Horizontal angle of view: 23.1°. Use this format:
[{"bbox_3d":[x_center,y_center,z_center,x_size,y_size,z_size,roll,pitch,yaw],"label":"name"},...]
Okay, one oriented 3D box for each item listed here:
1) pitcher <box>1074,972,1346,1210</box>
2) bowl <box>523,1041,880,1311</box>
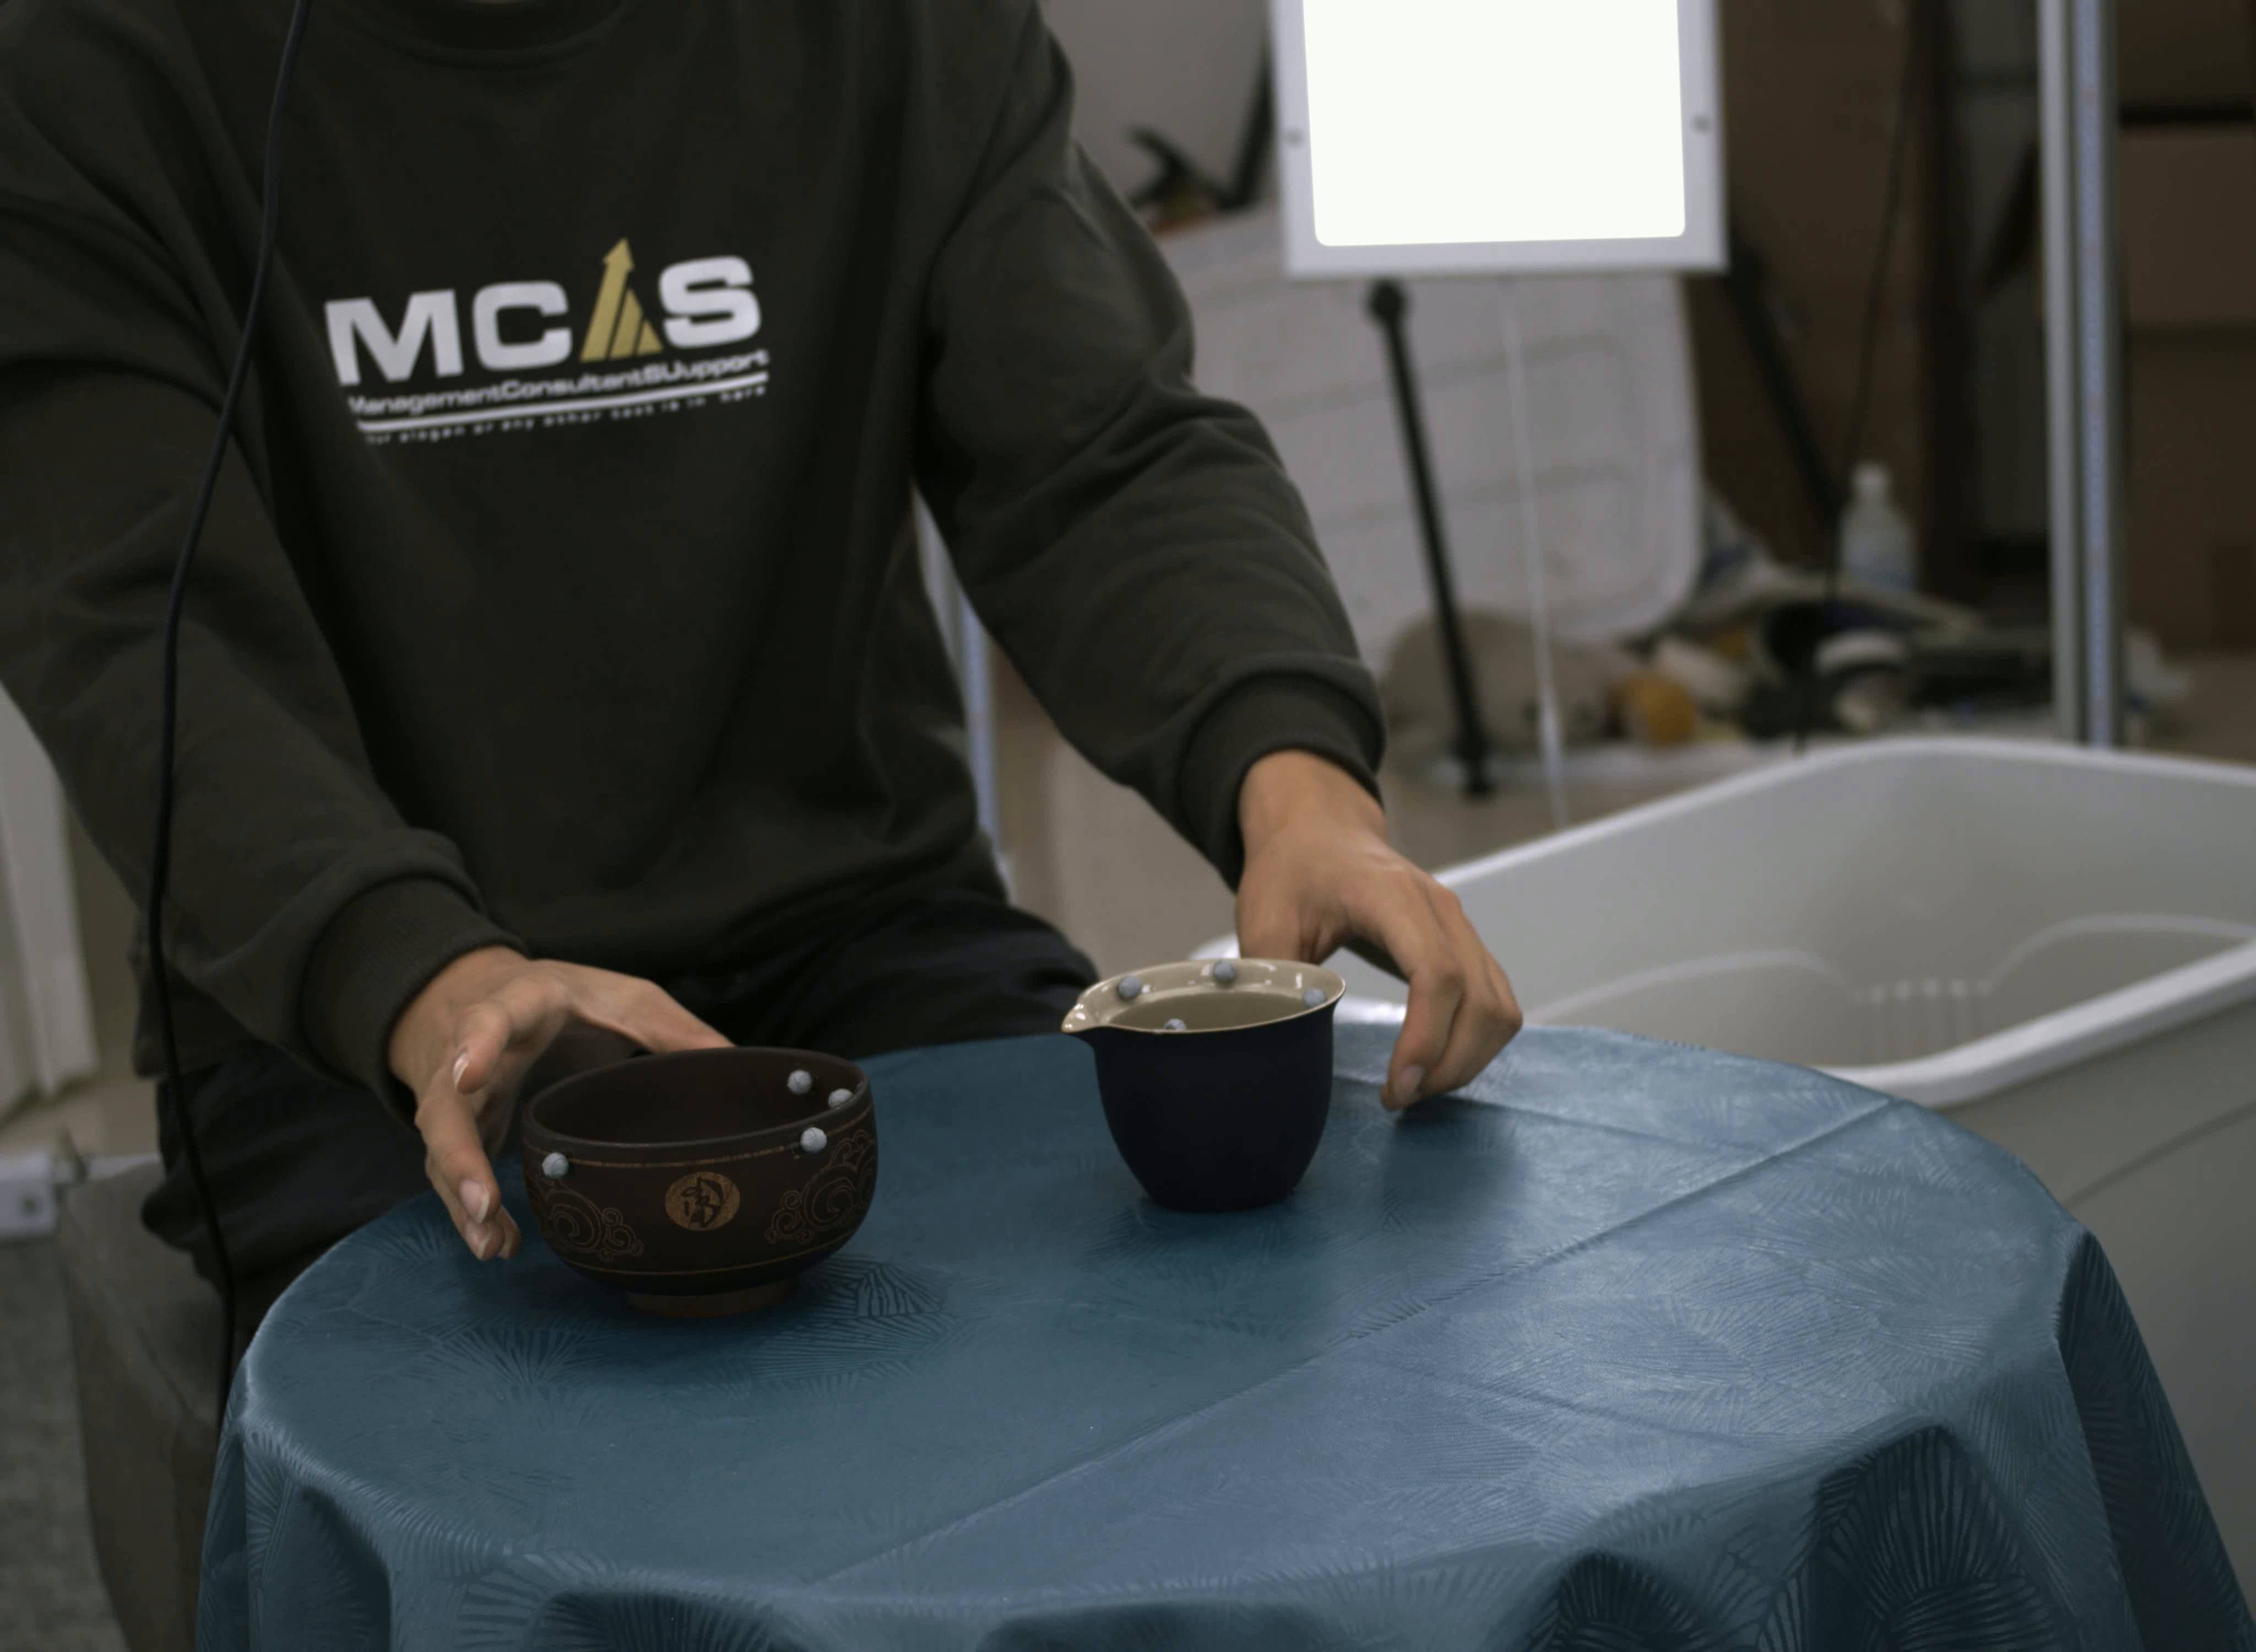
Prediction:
[{"bbox_3d":[0.030,0.091,1.883,0.094,0.071,0.084,-9,16,-14],"label":"pitcher"},{"bbox_3d":[-0.139,0.119,1.824,0.118,0.070,0.118,-5,12,0],"label":"bowl"}]
